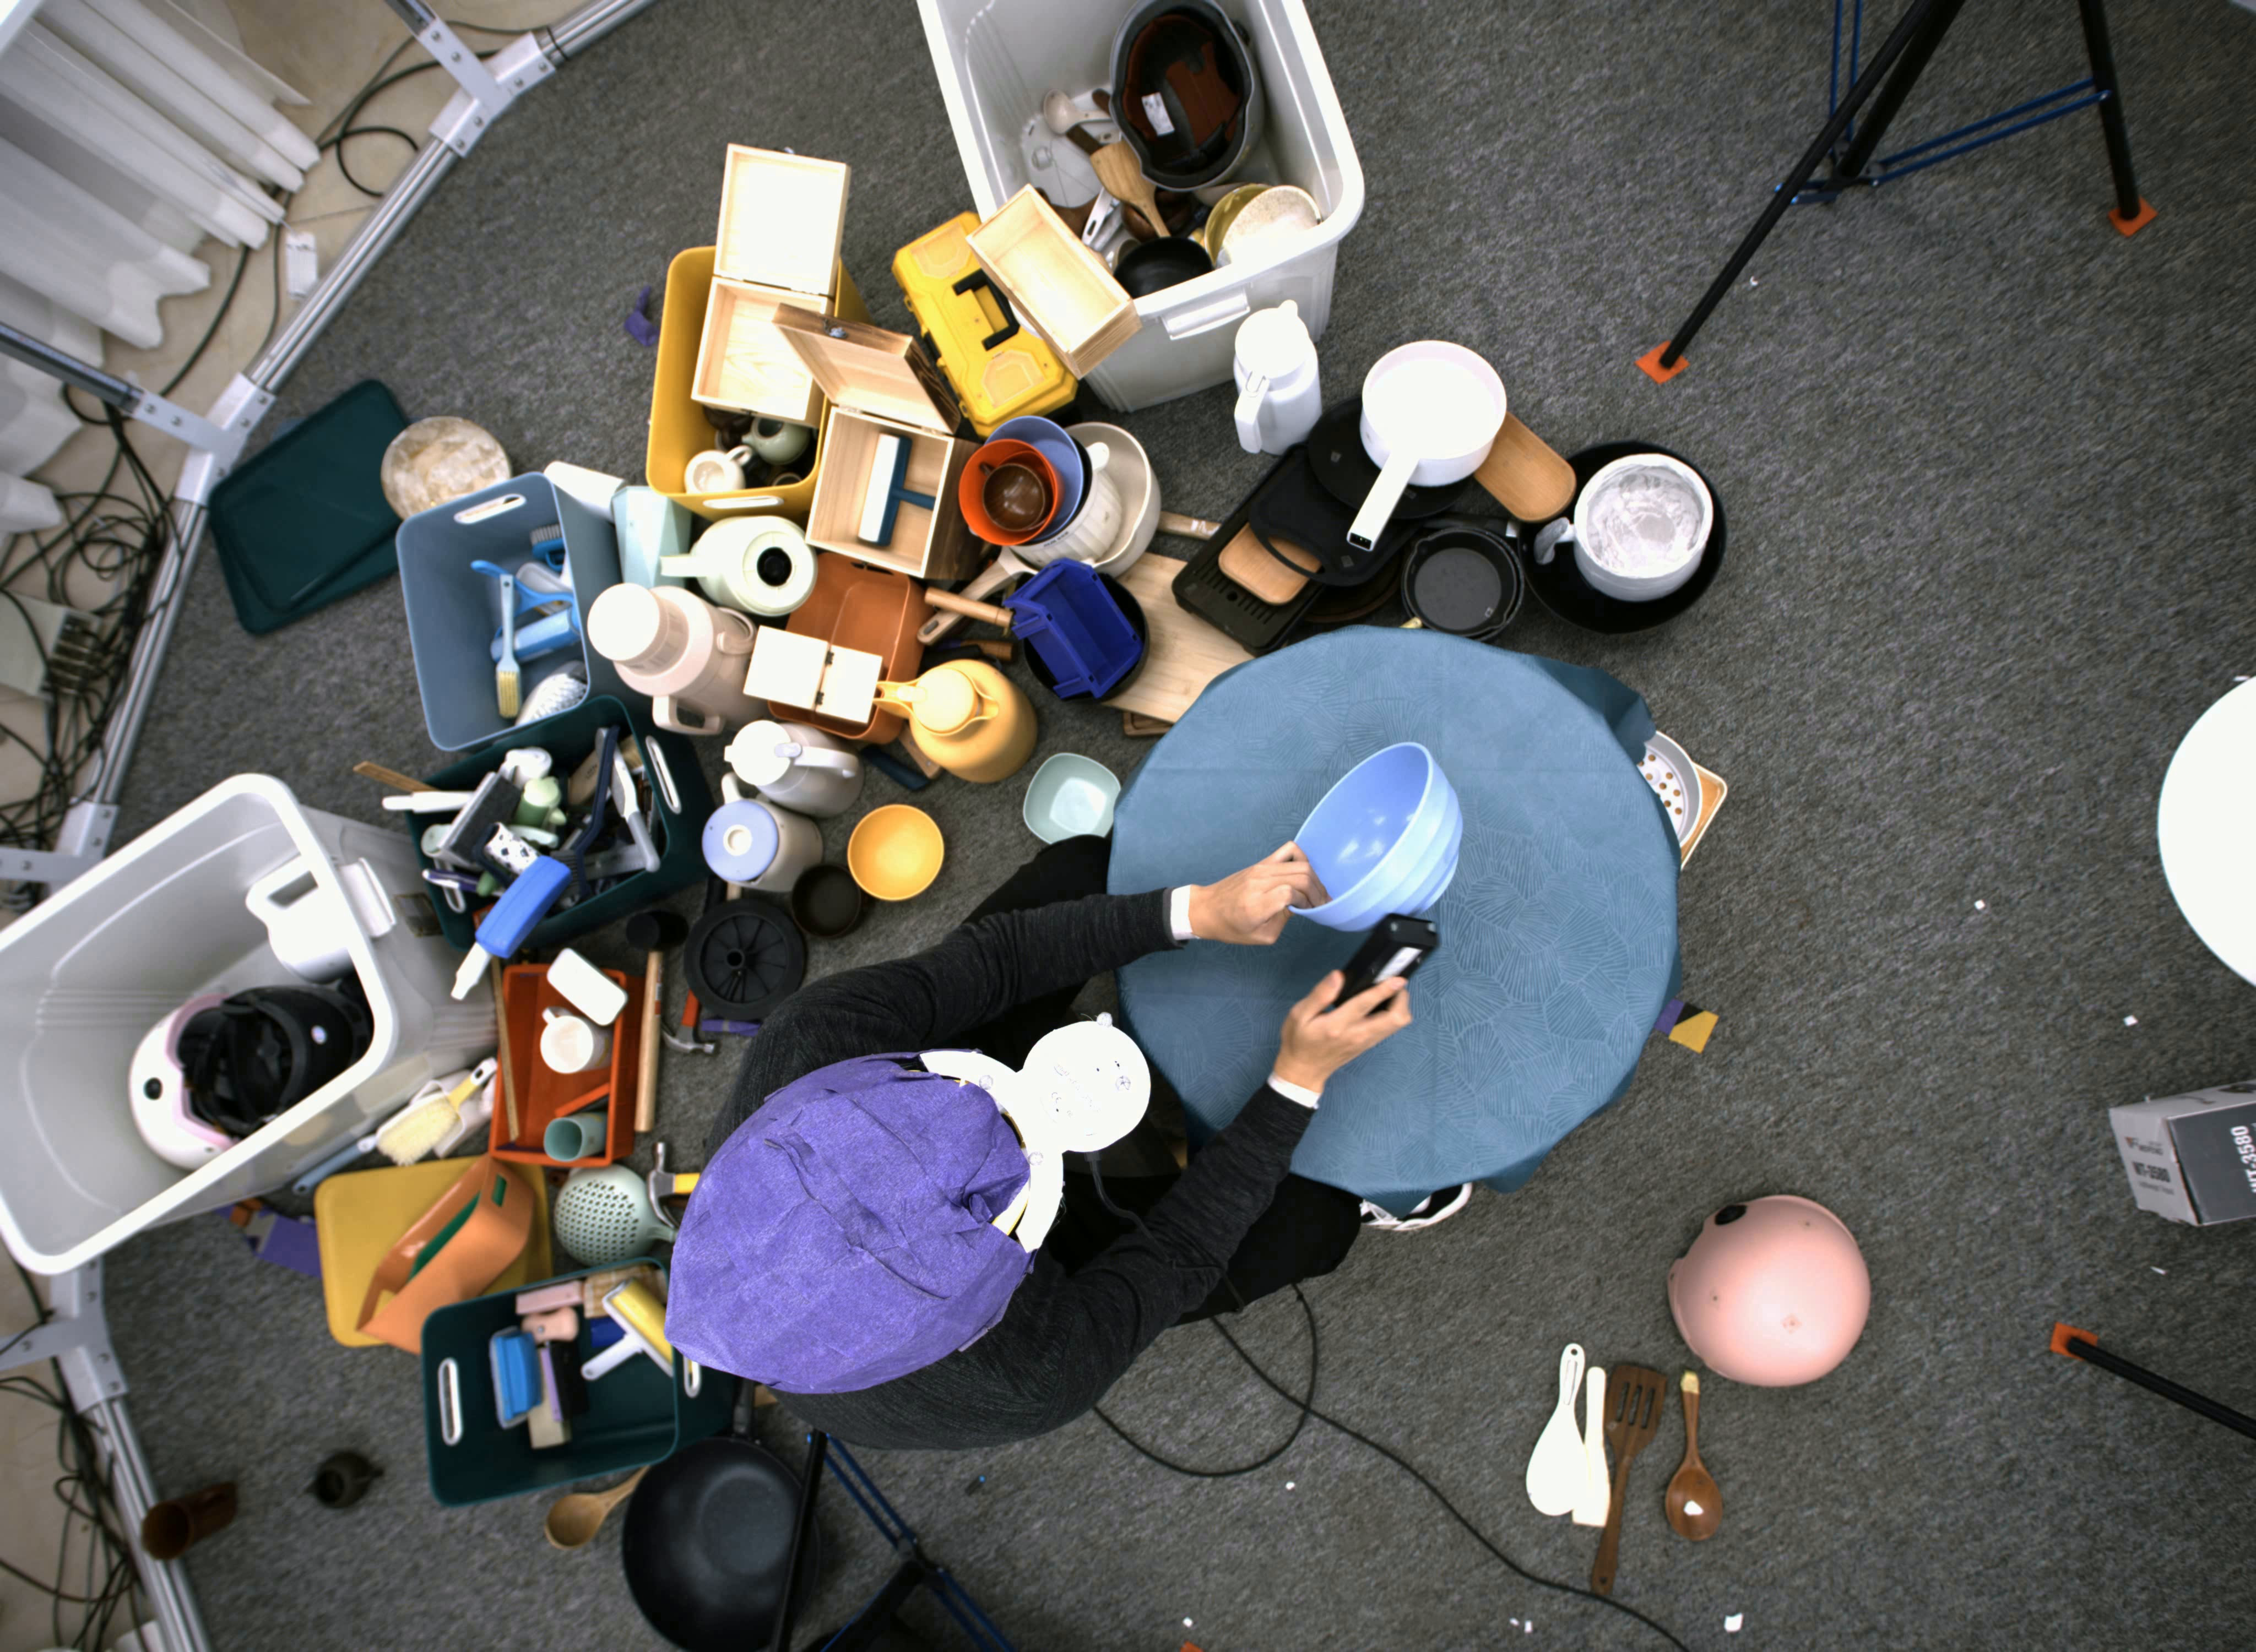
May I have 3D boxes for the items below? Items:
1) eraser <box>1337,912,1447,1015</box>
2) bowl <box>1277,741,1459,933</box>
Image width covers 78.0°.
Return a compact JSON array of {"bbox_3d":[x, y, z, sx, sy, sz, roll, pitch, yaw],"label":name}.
[{"bbox_3d":[0.243,0.128,1.283,0.053,0.129,0.029,11,50,-14],"label":"eraser"},{"bbox_3d":[0.243,0.024,1.311,0.096,0.195,0.197,33,92,-23],"label":"bowl"}]
